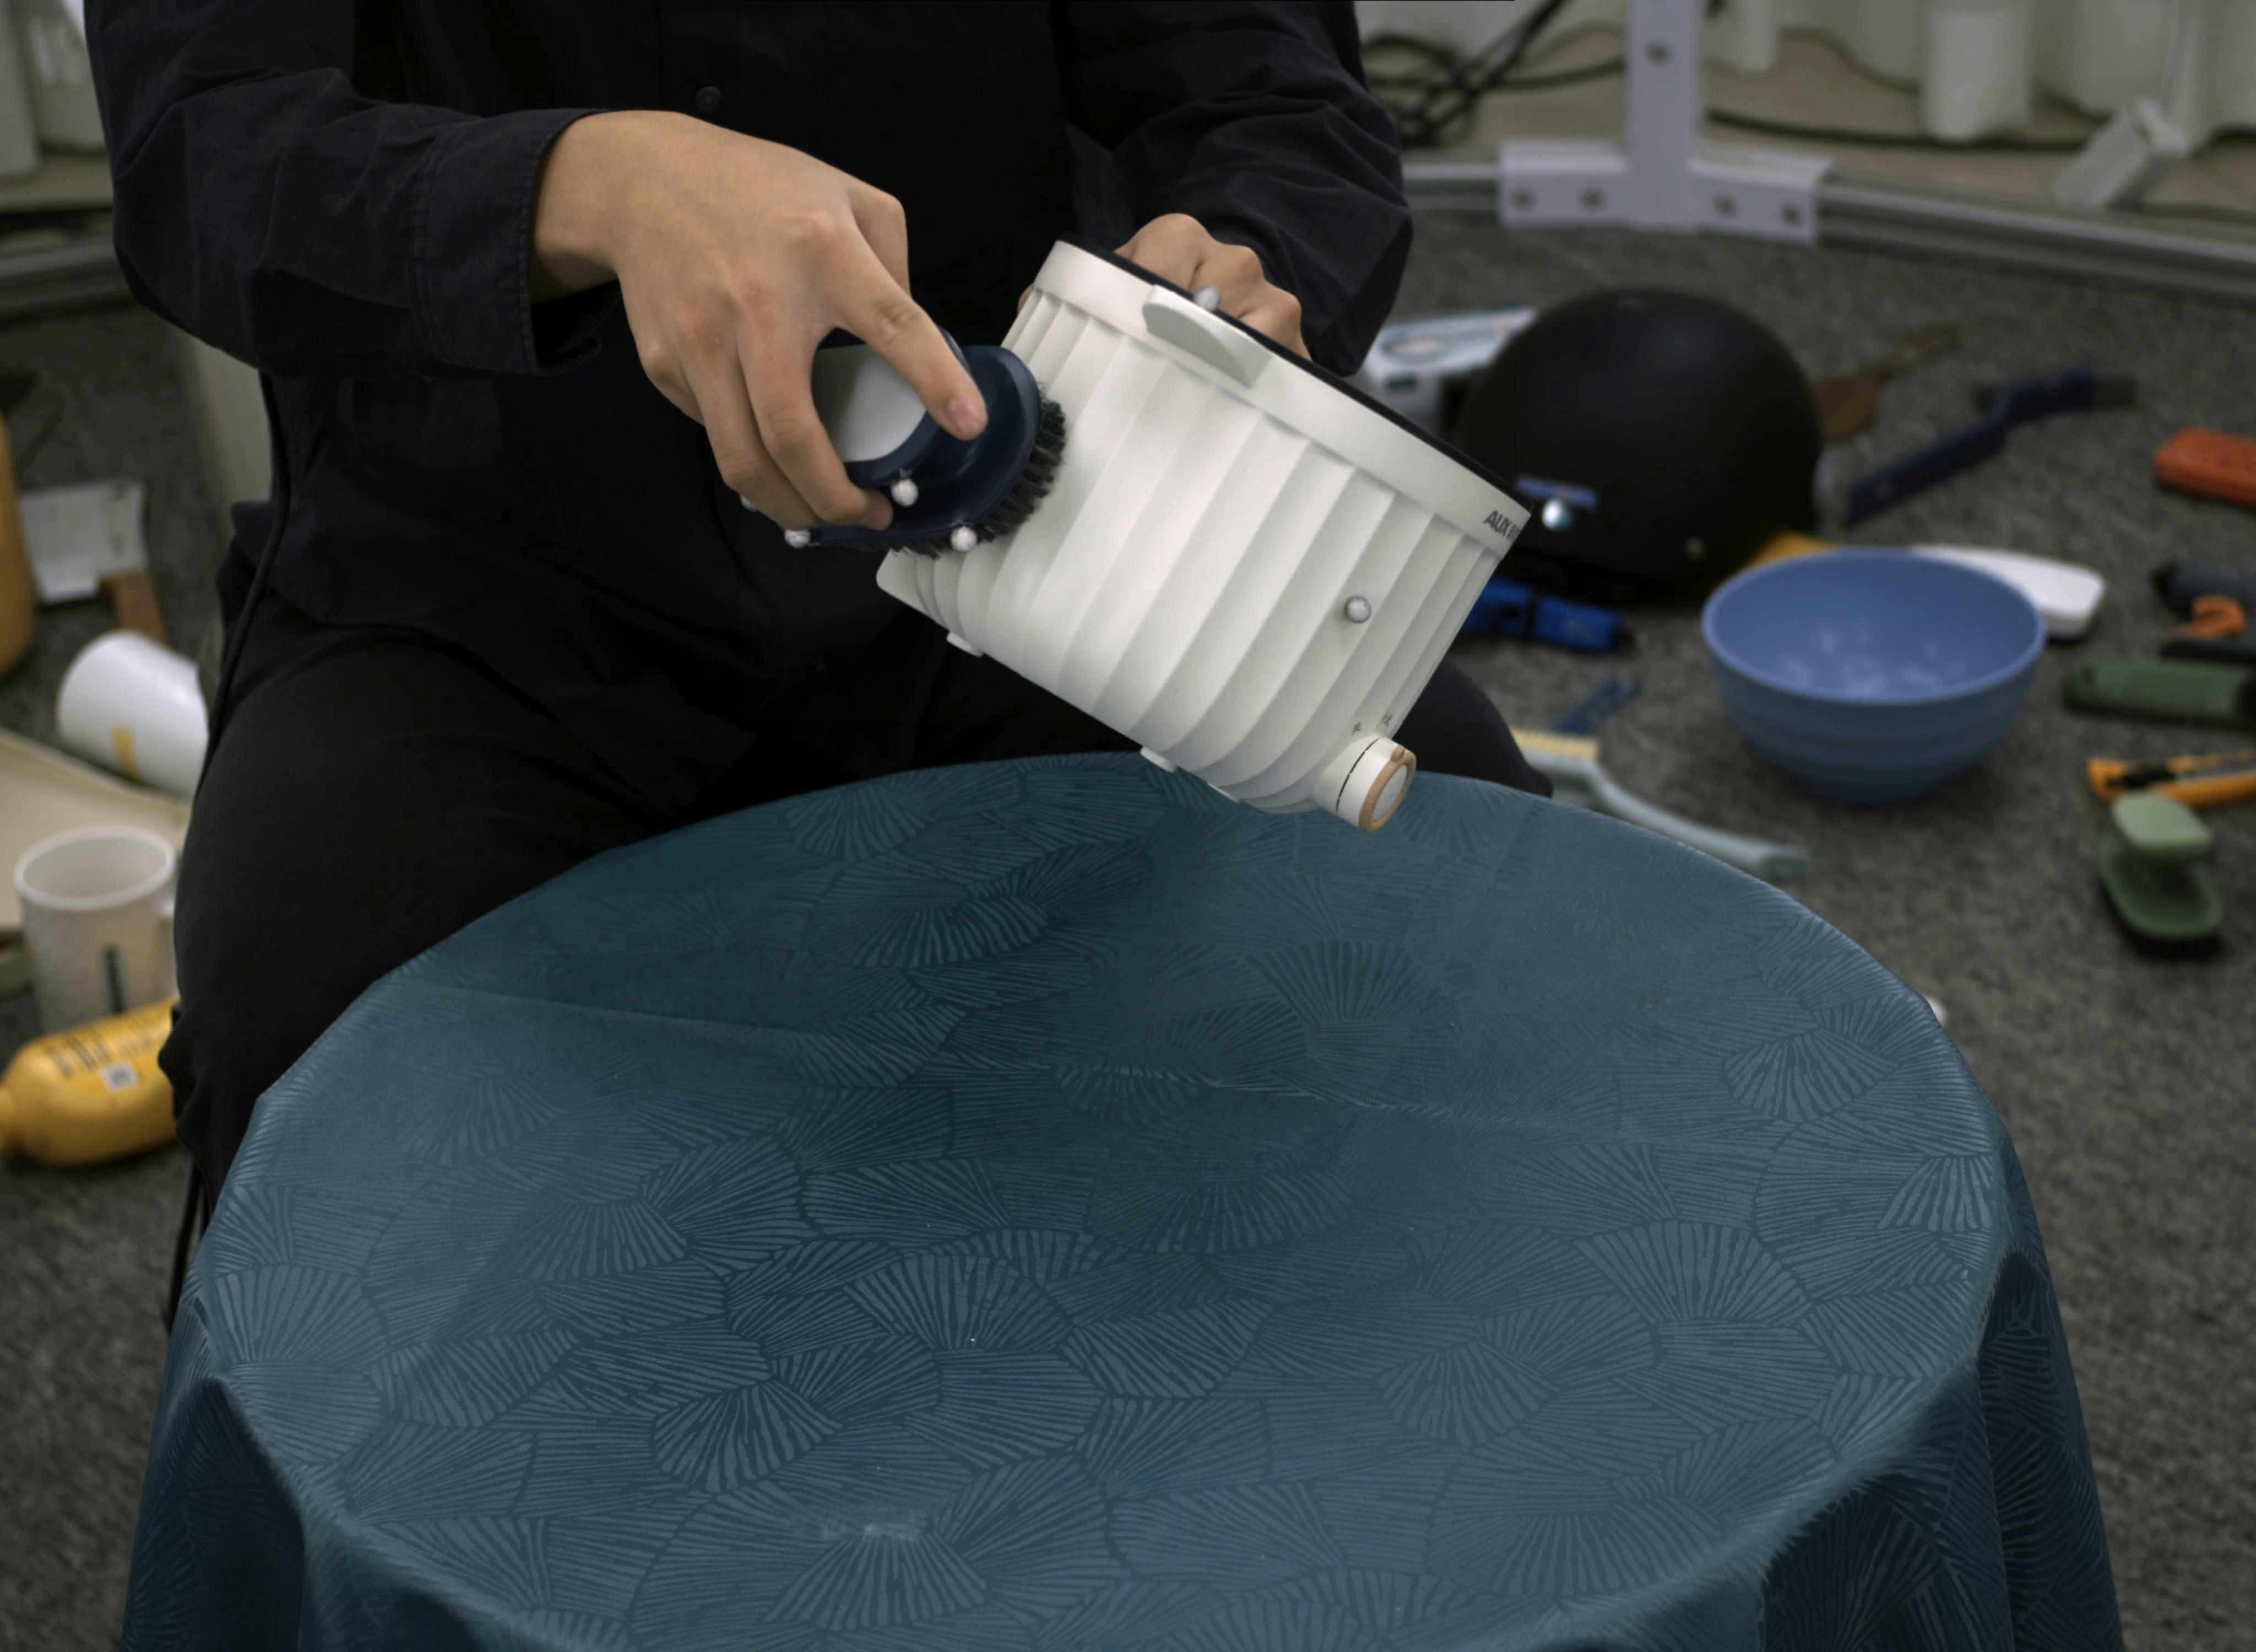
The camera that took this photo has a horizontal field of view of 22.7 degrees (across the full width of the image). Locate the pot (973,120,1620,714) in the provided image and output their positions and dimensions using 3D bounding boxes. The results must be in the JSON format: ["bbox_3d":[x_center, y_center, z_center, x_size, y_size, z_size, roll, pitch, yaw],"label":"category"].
[{"bbox_3d":[0.059,-0.130,1.892,0.190,0.143,0.240,28,2,18],"label":"pot"}]

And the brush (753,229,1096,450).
[{"bbox_3d":[-0.065,-0.156,1.833,0.120,0.068,0.061,4,-17,45],"label":"brush"}]
